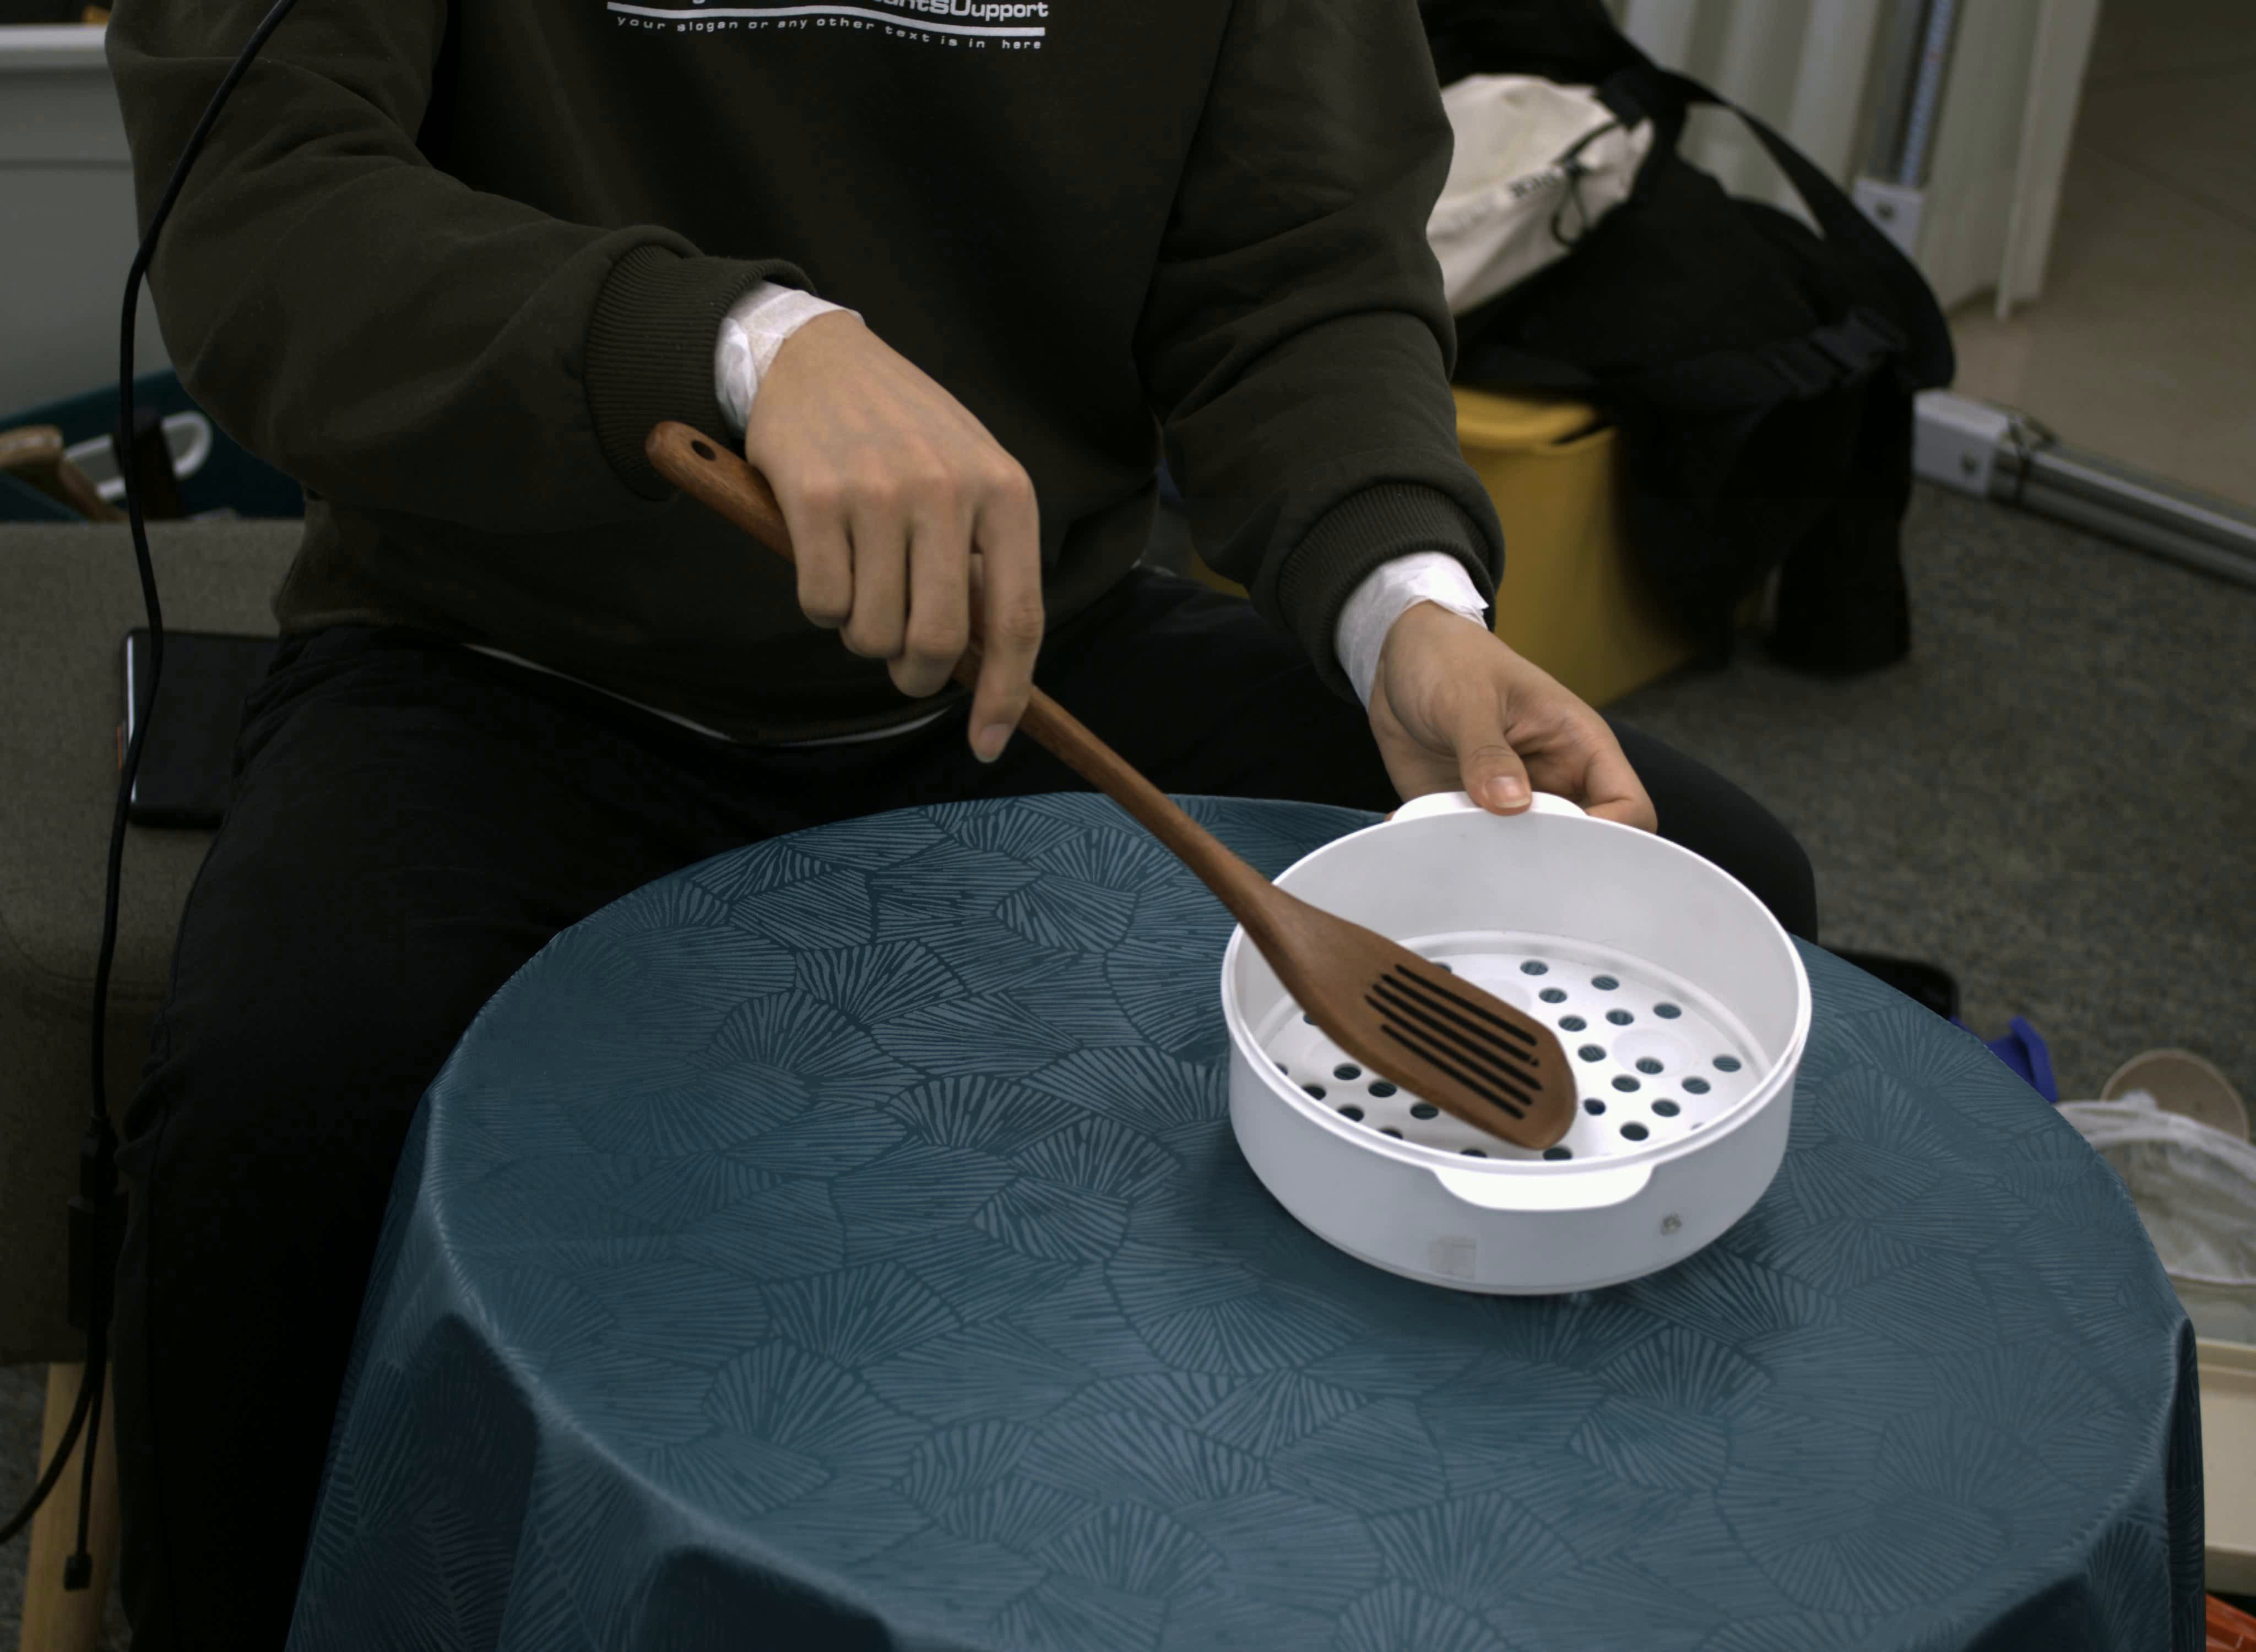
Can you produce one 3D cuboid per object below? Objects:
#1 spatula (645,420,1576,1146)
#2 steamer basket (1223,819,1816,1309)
[{"bbox_3d":[-0.006,-0.014,1.777,0.384,0.023,0.086,37,27,-9],"label":"spatula"},{"bbox_3d":[0.132,0.084,1.820,0.201,0.069,0.232,0,33,-2],"label":"steamer basket"}]
